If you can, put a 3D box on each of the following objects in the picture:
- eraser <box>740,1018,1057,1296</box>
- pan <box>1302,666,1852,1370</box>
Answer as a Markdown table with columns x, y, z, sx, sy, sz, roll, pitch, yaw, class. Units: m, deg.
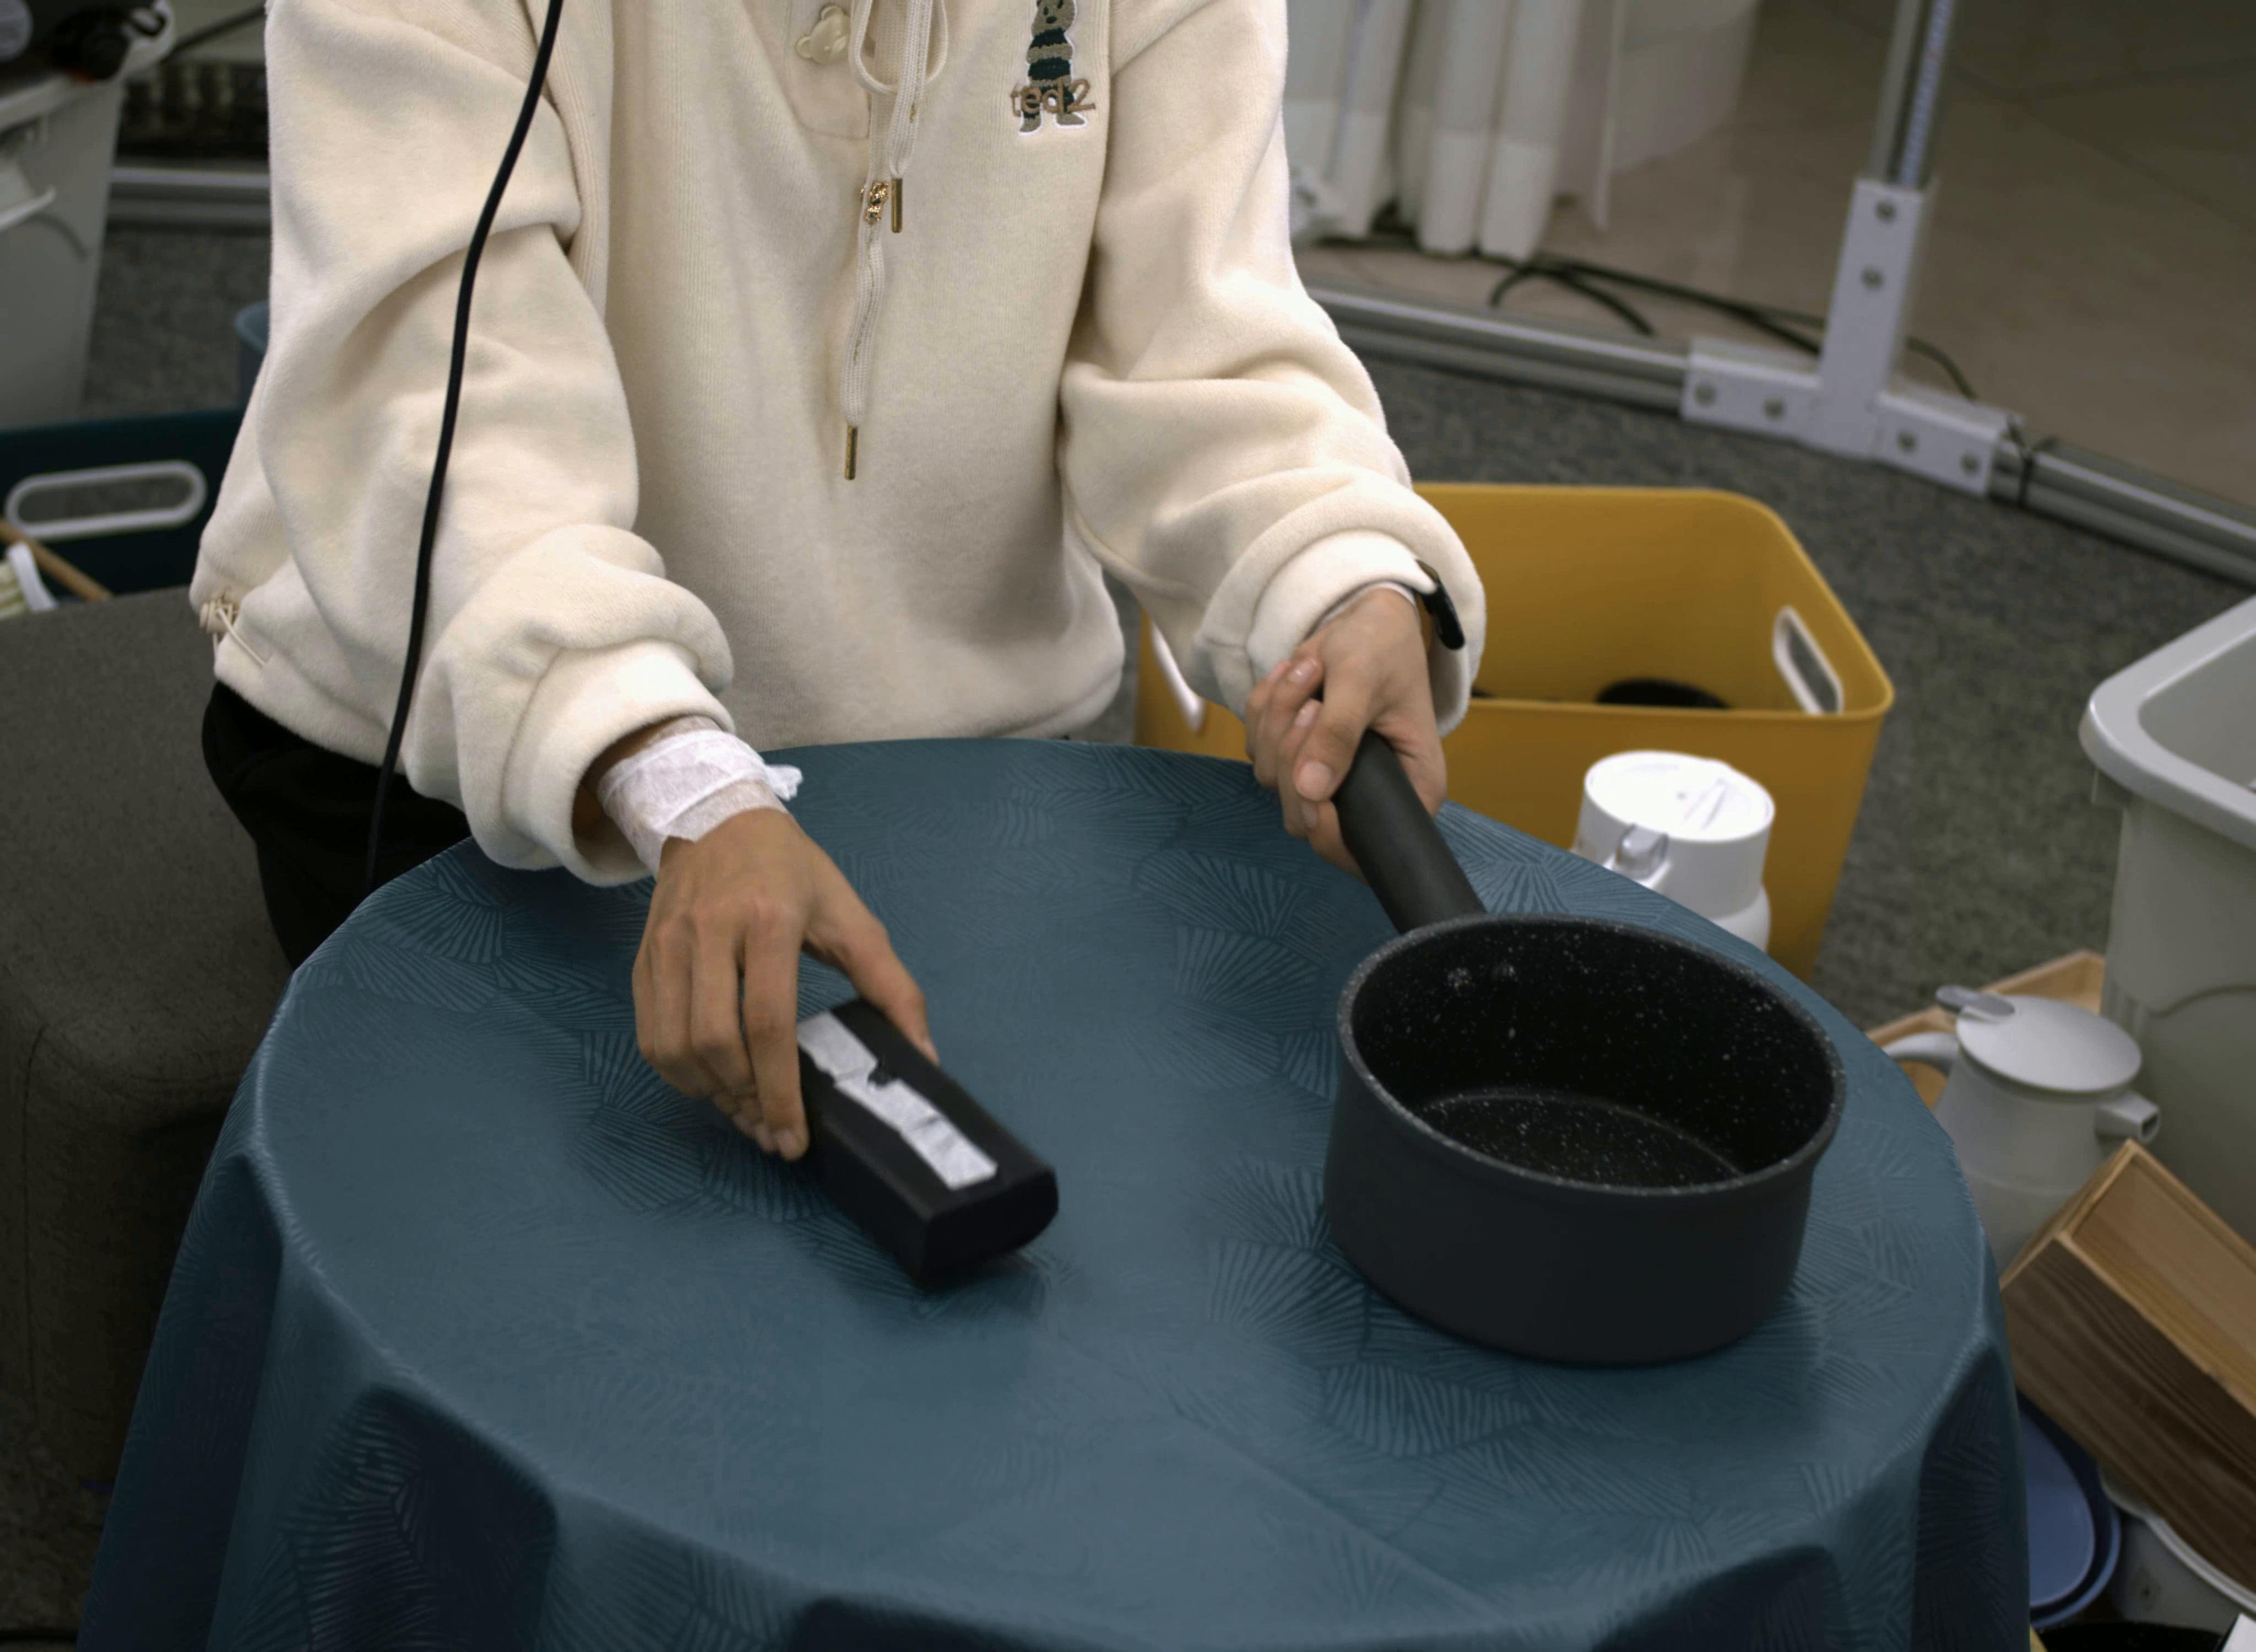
| x | y | z | sx | sy | sz | roll | pitch | yaw | class |
| --- | --- | --- | --- | --- | --- | --- | --- | --- | --- |
| -0.077 | 0.109 | 1.771 | 0.053 | 0.030 | 0.126 | -18 | 35 | -27 | eraser |
| 0.125 | 0.063 | 1.842 | 0.171 | 0.086 | 0.332 | -4 | 33 | -20 | pan |
